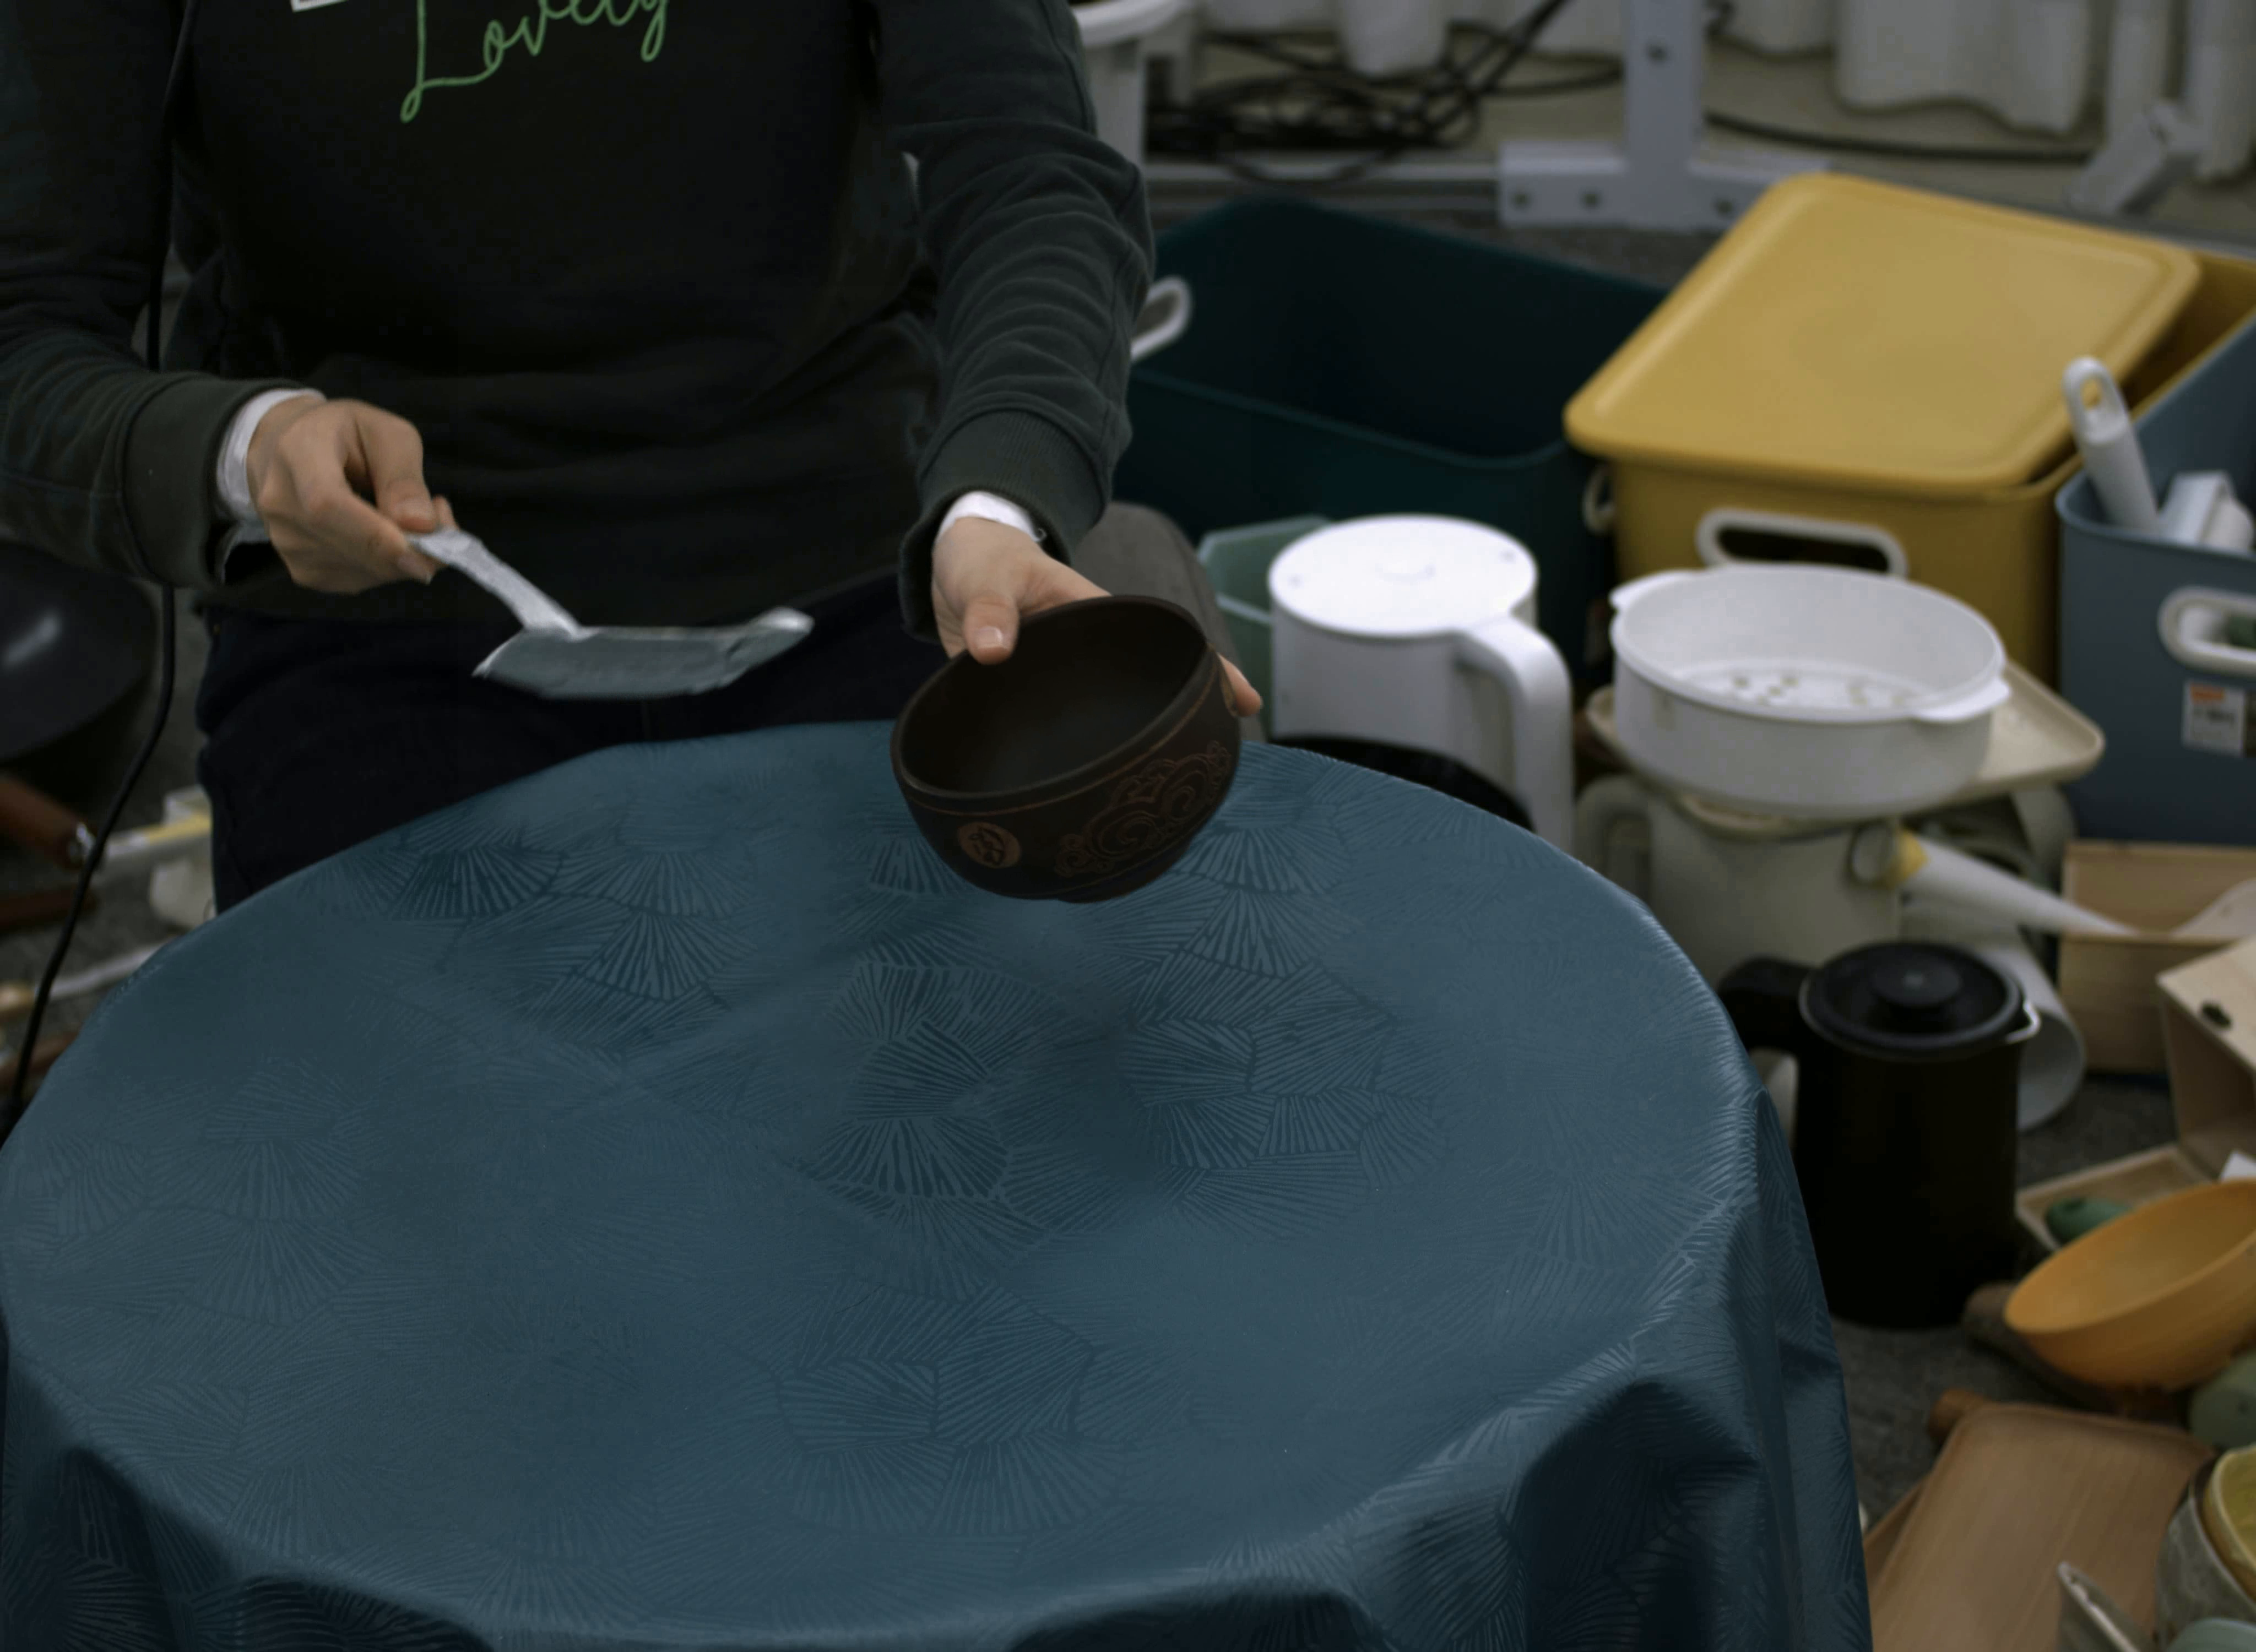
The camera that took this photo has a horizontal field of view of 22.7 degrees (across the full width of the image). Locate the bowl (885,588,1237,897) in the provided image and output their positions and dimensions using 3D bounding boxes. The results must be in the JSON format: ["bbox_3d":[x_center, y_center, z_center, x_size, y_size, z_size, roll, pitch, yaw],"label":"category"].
[{"bbox_3d":[-0.017,-0.020,1.904,0.117,0.069,0.120,-17,29,10],"label":"bowl"}]

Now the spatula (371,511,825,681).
[{"bbox_3d":[-0.203,-0.088,1.898,0.099,0.044,0.365,-3,14,-23],"label":"spatula"}]
